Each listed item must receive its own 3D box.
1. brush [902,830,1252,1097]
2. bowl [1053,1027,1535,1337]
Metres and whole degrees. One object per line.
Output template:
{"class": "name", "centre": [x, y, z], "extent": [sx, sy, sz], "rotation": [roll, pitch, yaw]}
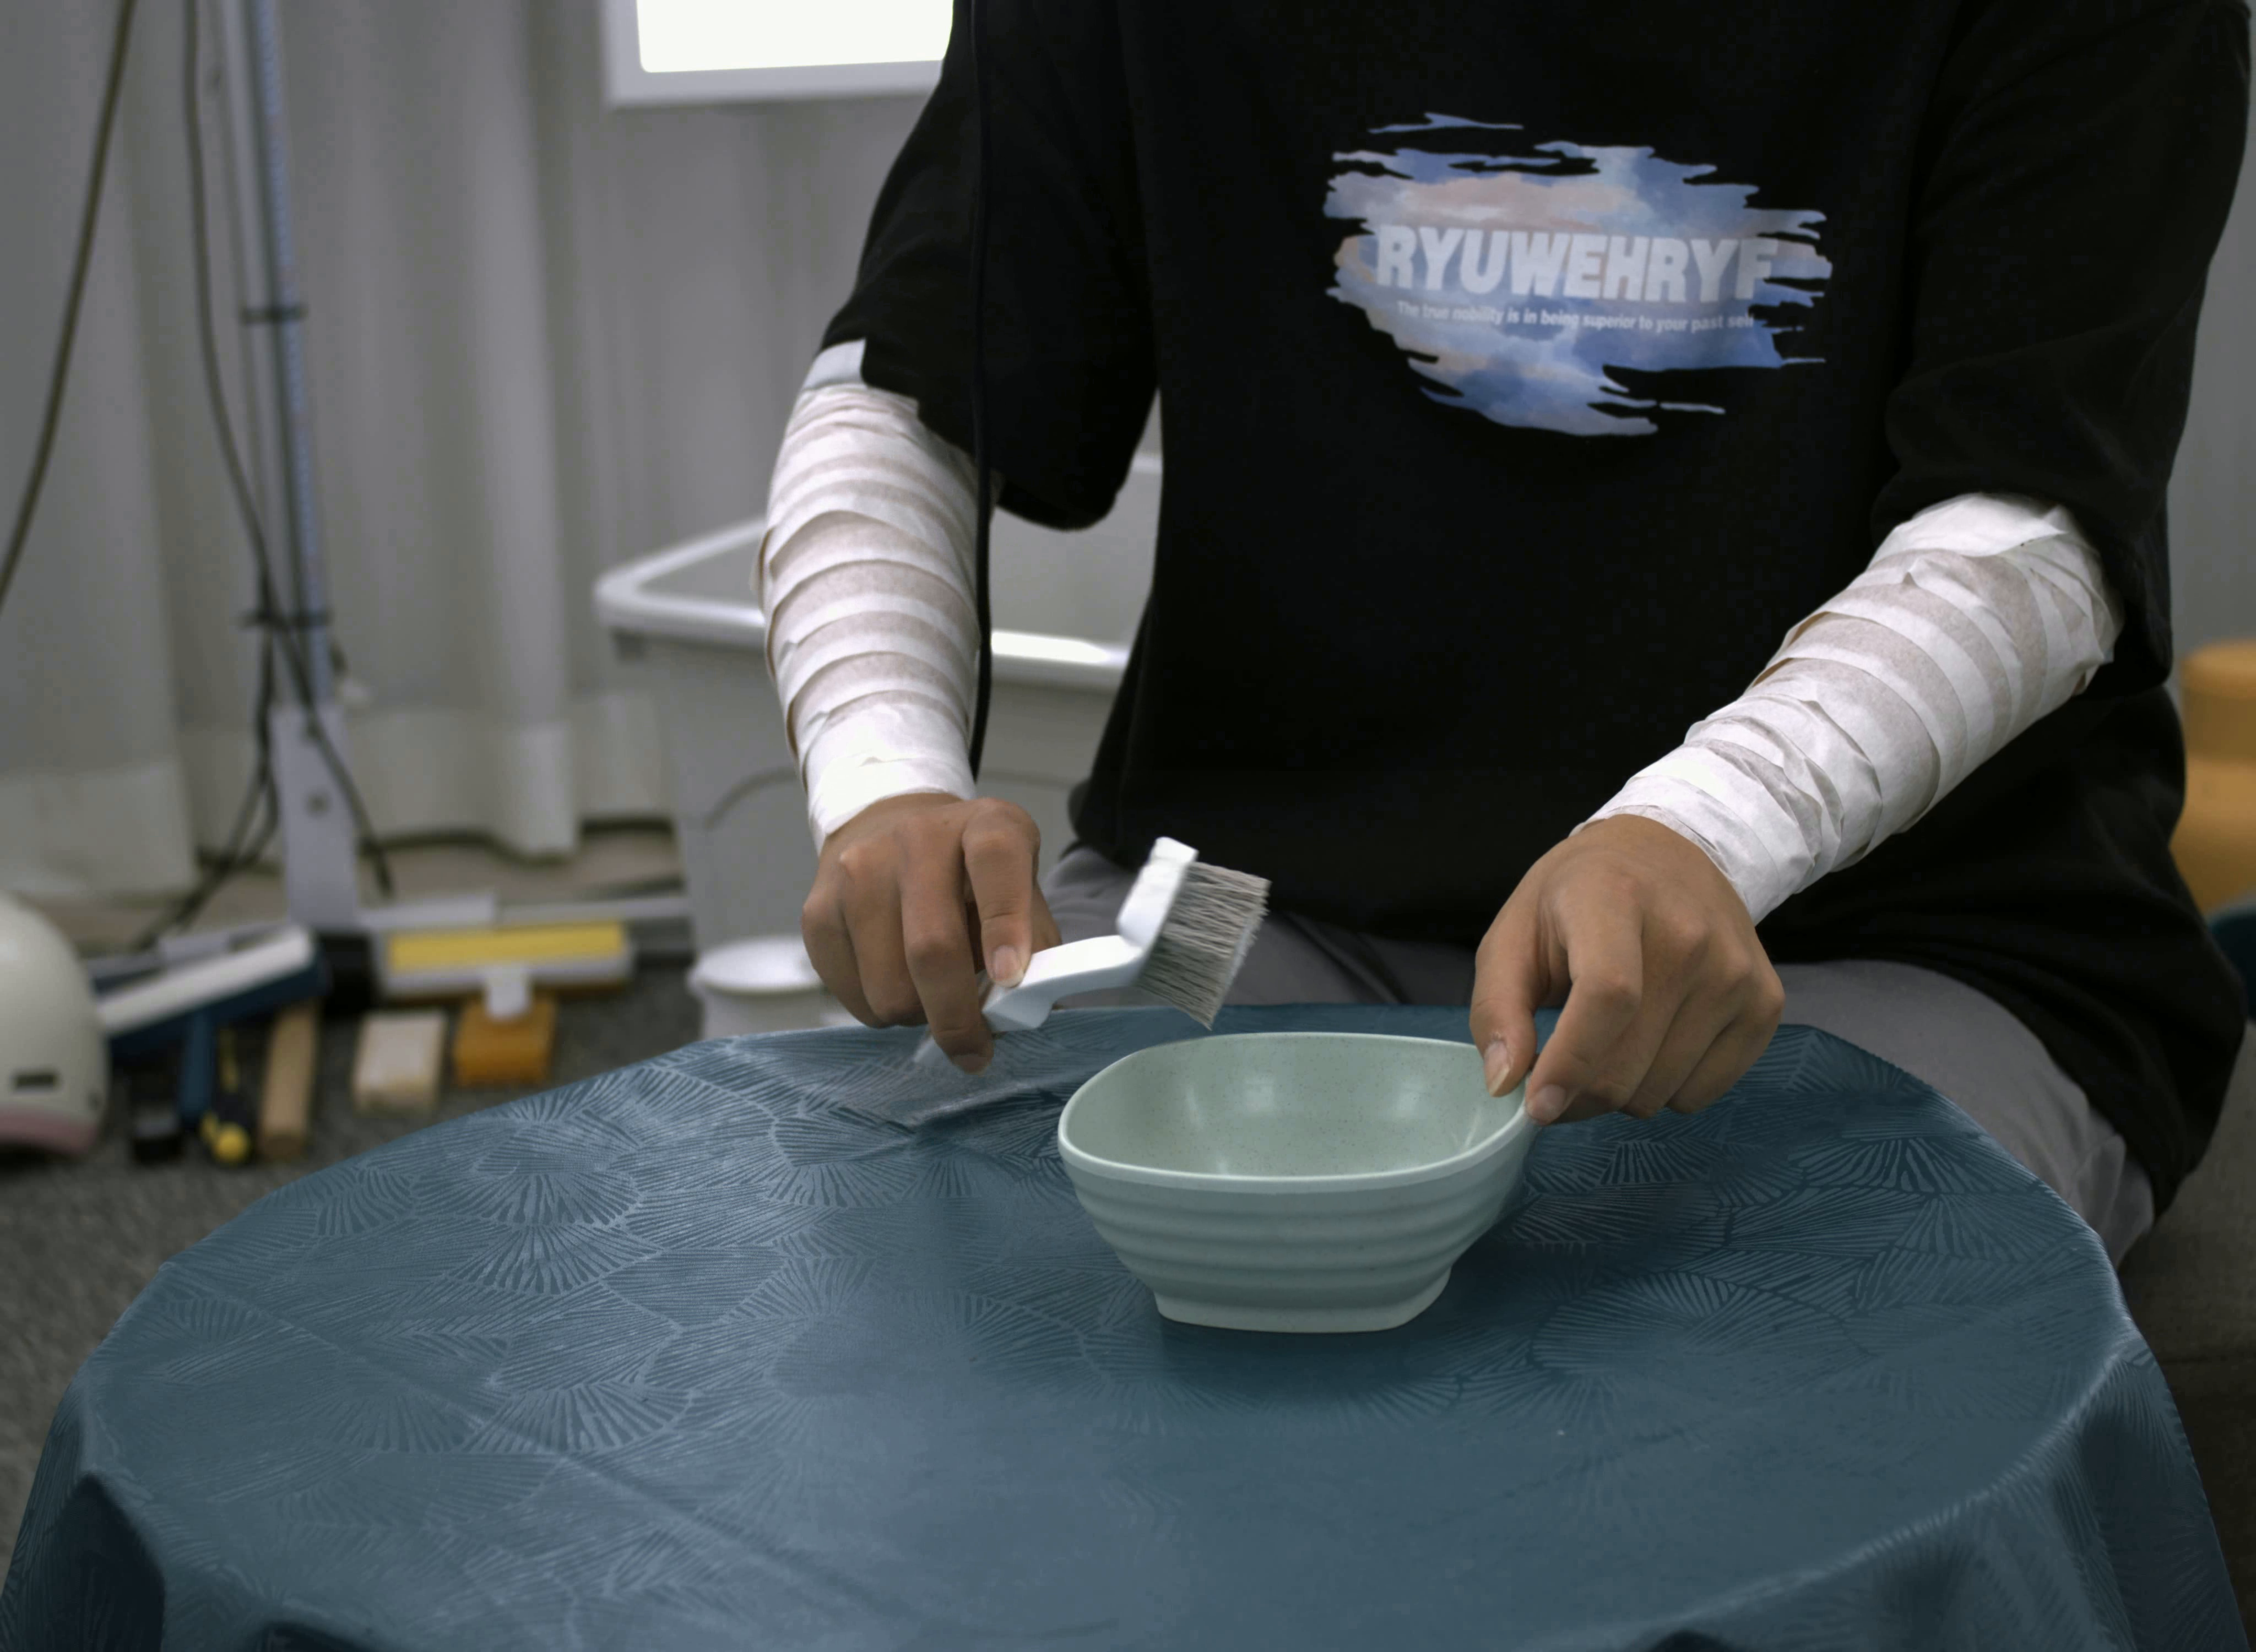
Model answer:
{"class": "brush", "centre": [-0.014, 0.055, 1.728], "extent": [0.050, 0.035, 0.242], "rotation": [27, -25, -10]}
{"class": "bowl", "centre": [0.050, 0.109, 1.616], "extent": [0.151, 0.058, 0.152], "rotation": [-1, 15, 0]}
